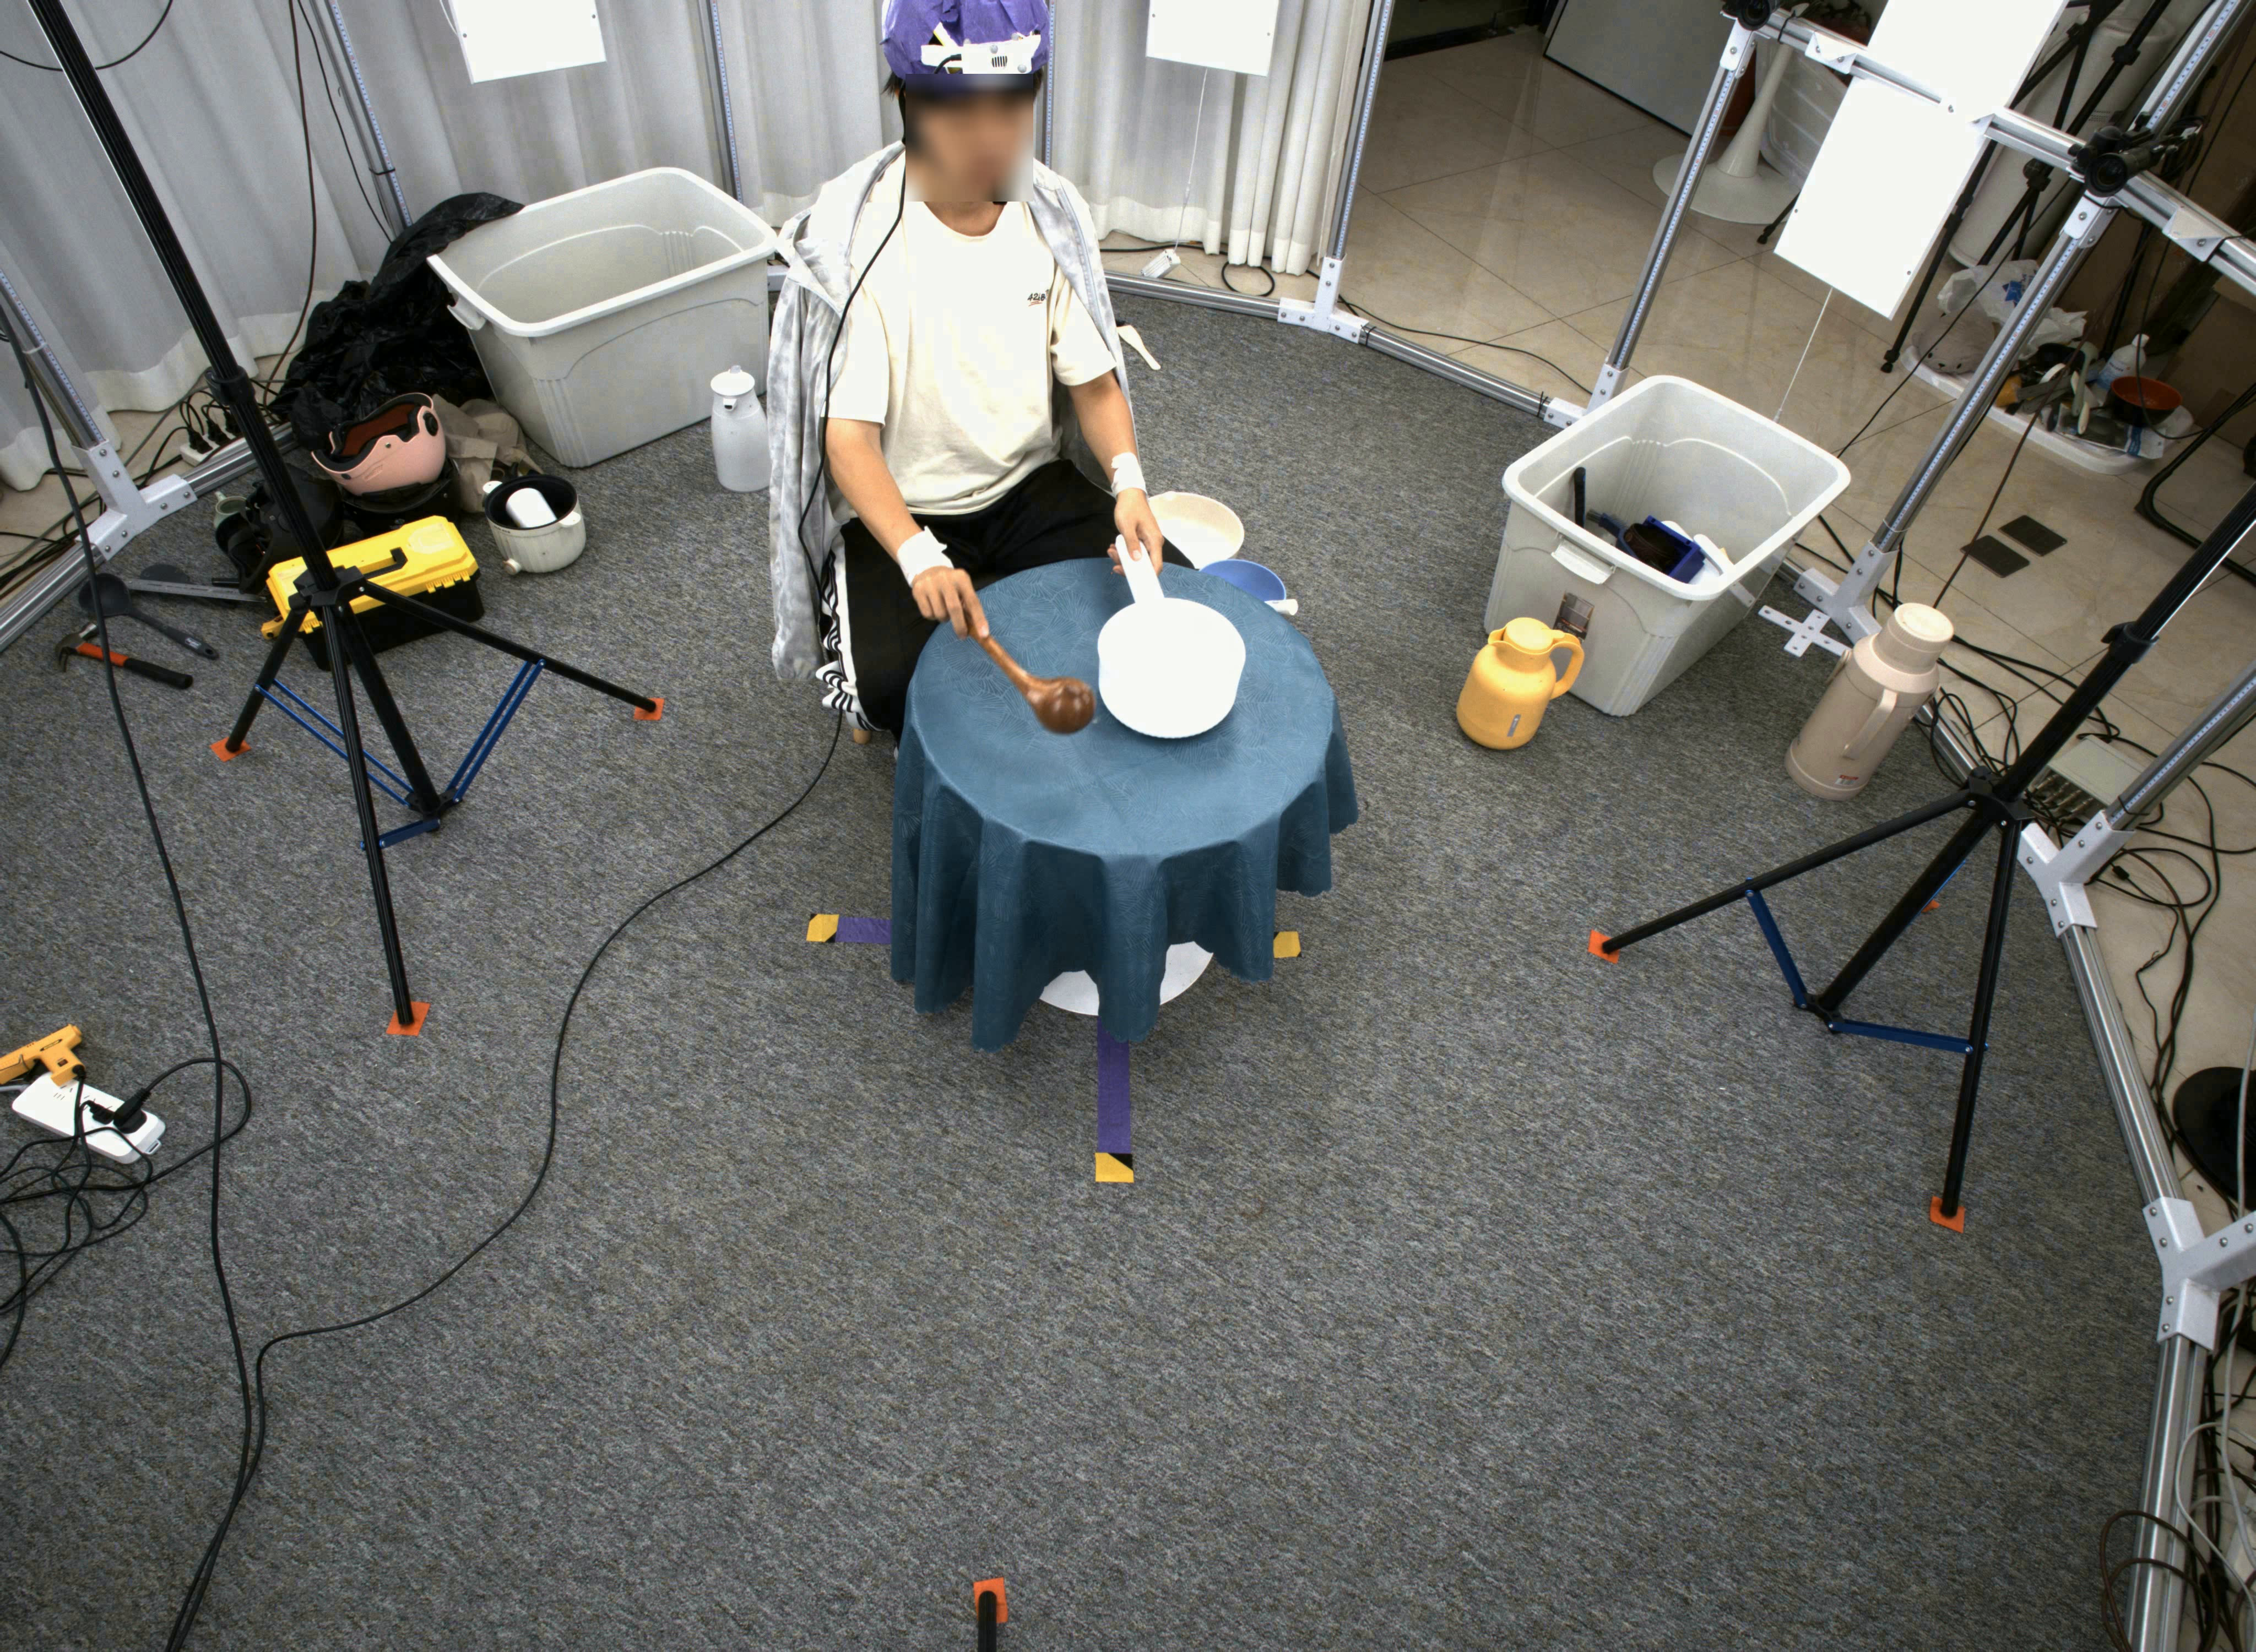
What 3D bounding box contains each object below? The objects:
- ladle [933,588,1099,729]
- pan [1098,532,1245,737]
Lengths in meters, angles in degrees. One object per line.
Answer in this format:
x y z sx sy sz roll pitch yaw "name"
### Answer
-0.145 -0.228 1.680 0.279 0.081 0.076 45 27 27 "ladle"
0.041 -0.274 1.838 0.201 0.099 0.364 -8 49 -10 "pan"
